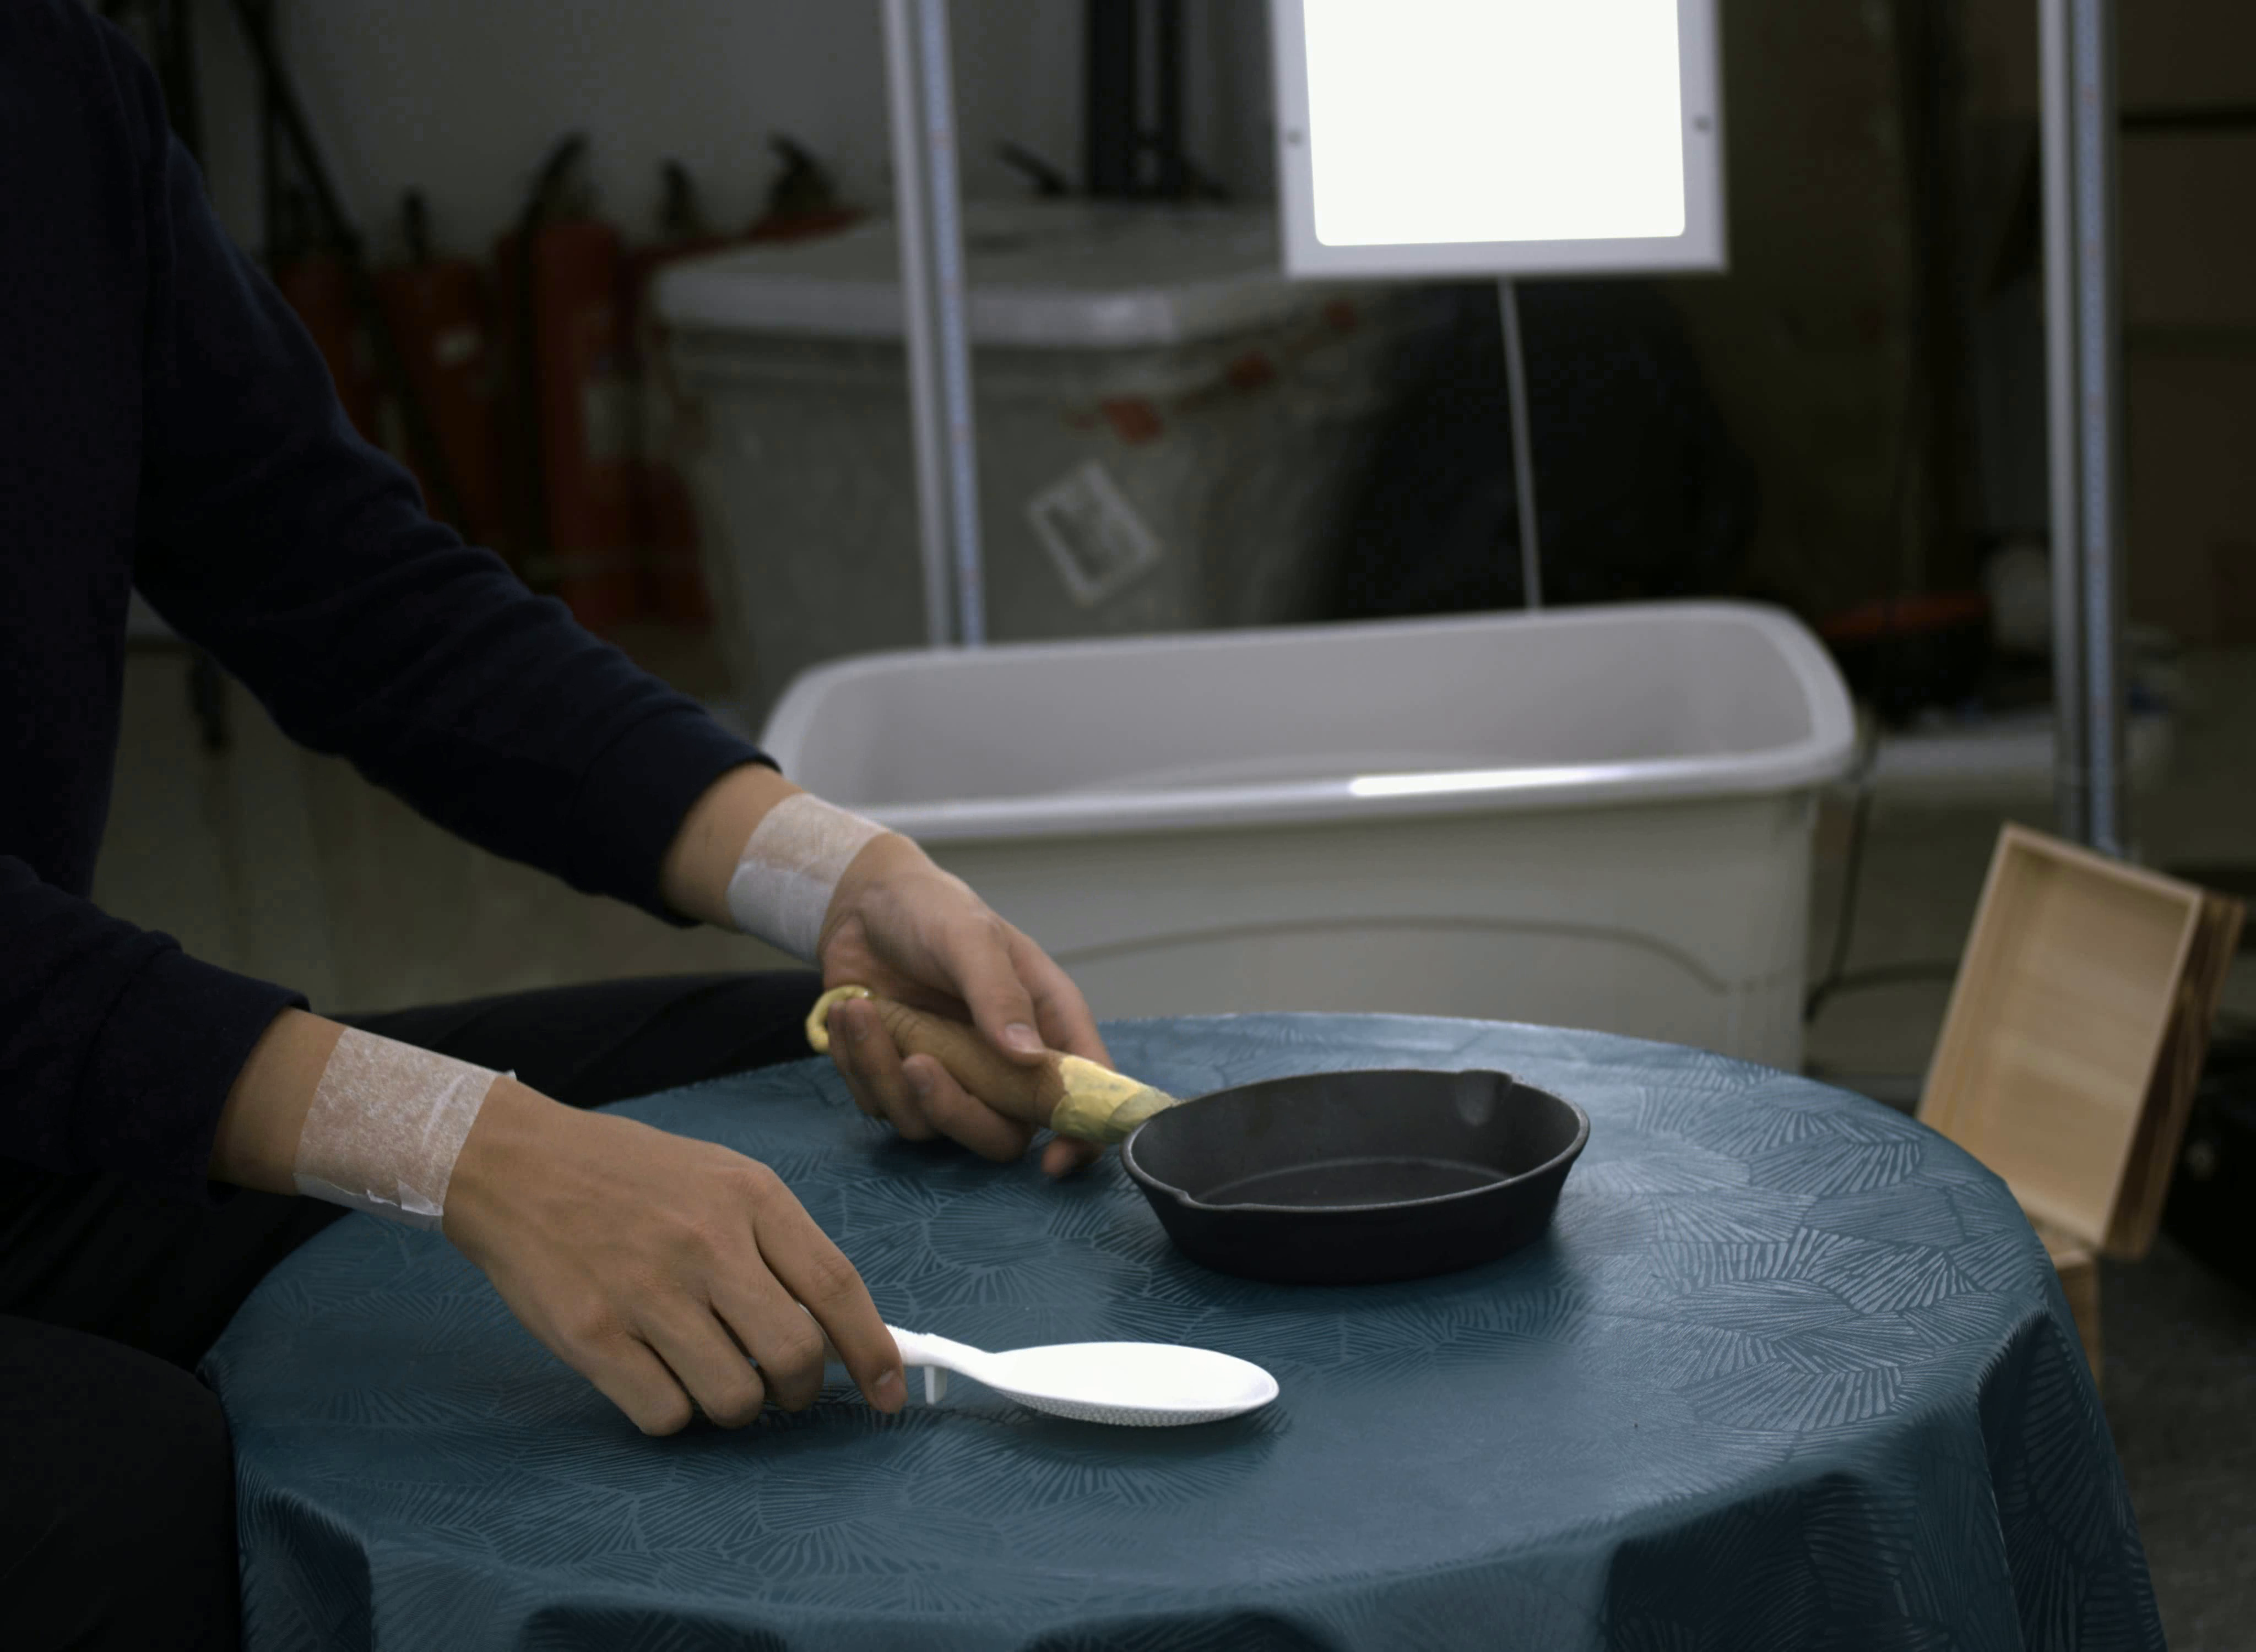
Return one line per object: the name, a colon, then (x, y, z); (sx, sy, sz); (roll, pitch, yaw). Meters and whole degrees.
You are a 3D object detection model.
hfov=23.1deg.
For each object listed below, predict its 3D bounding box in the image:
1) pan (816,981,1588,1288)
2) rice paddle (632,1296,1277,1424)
pan: (0.013, 0.100, 1.892); (0.331, 0.050, 0.164); (10, 21, 43)
rice paddle: (-0.053, 0.164, 1.694); (0.208, 0.029, 0.067); (2, 12, 20)
